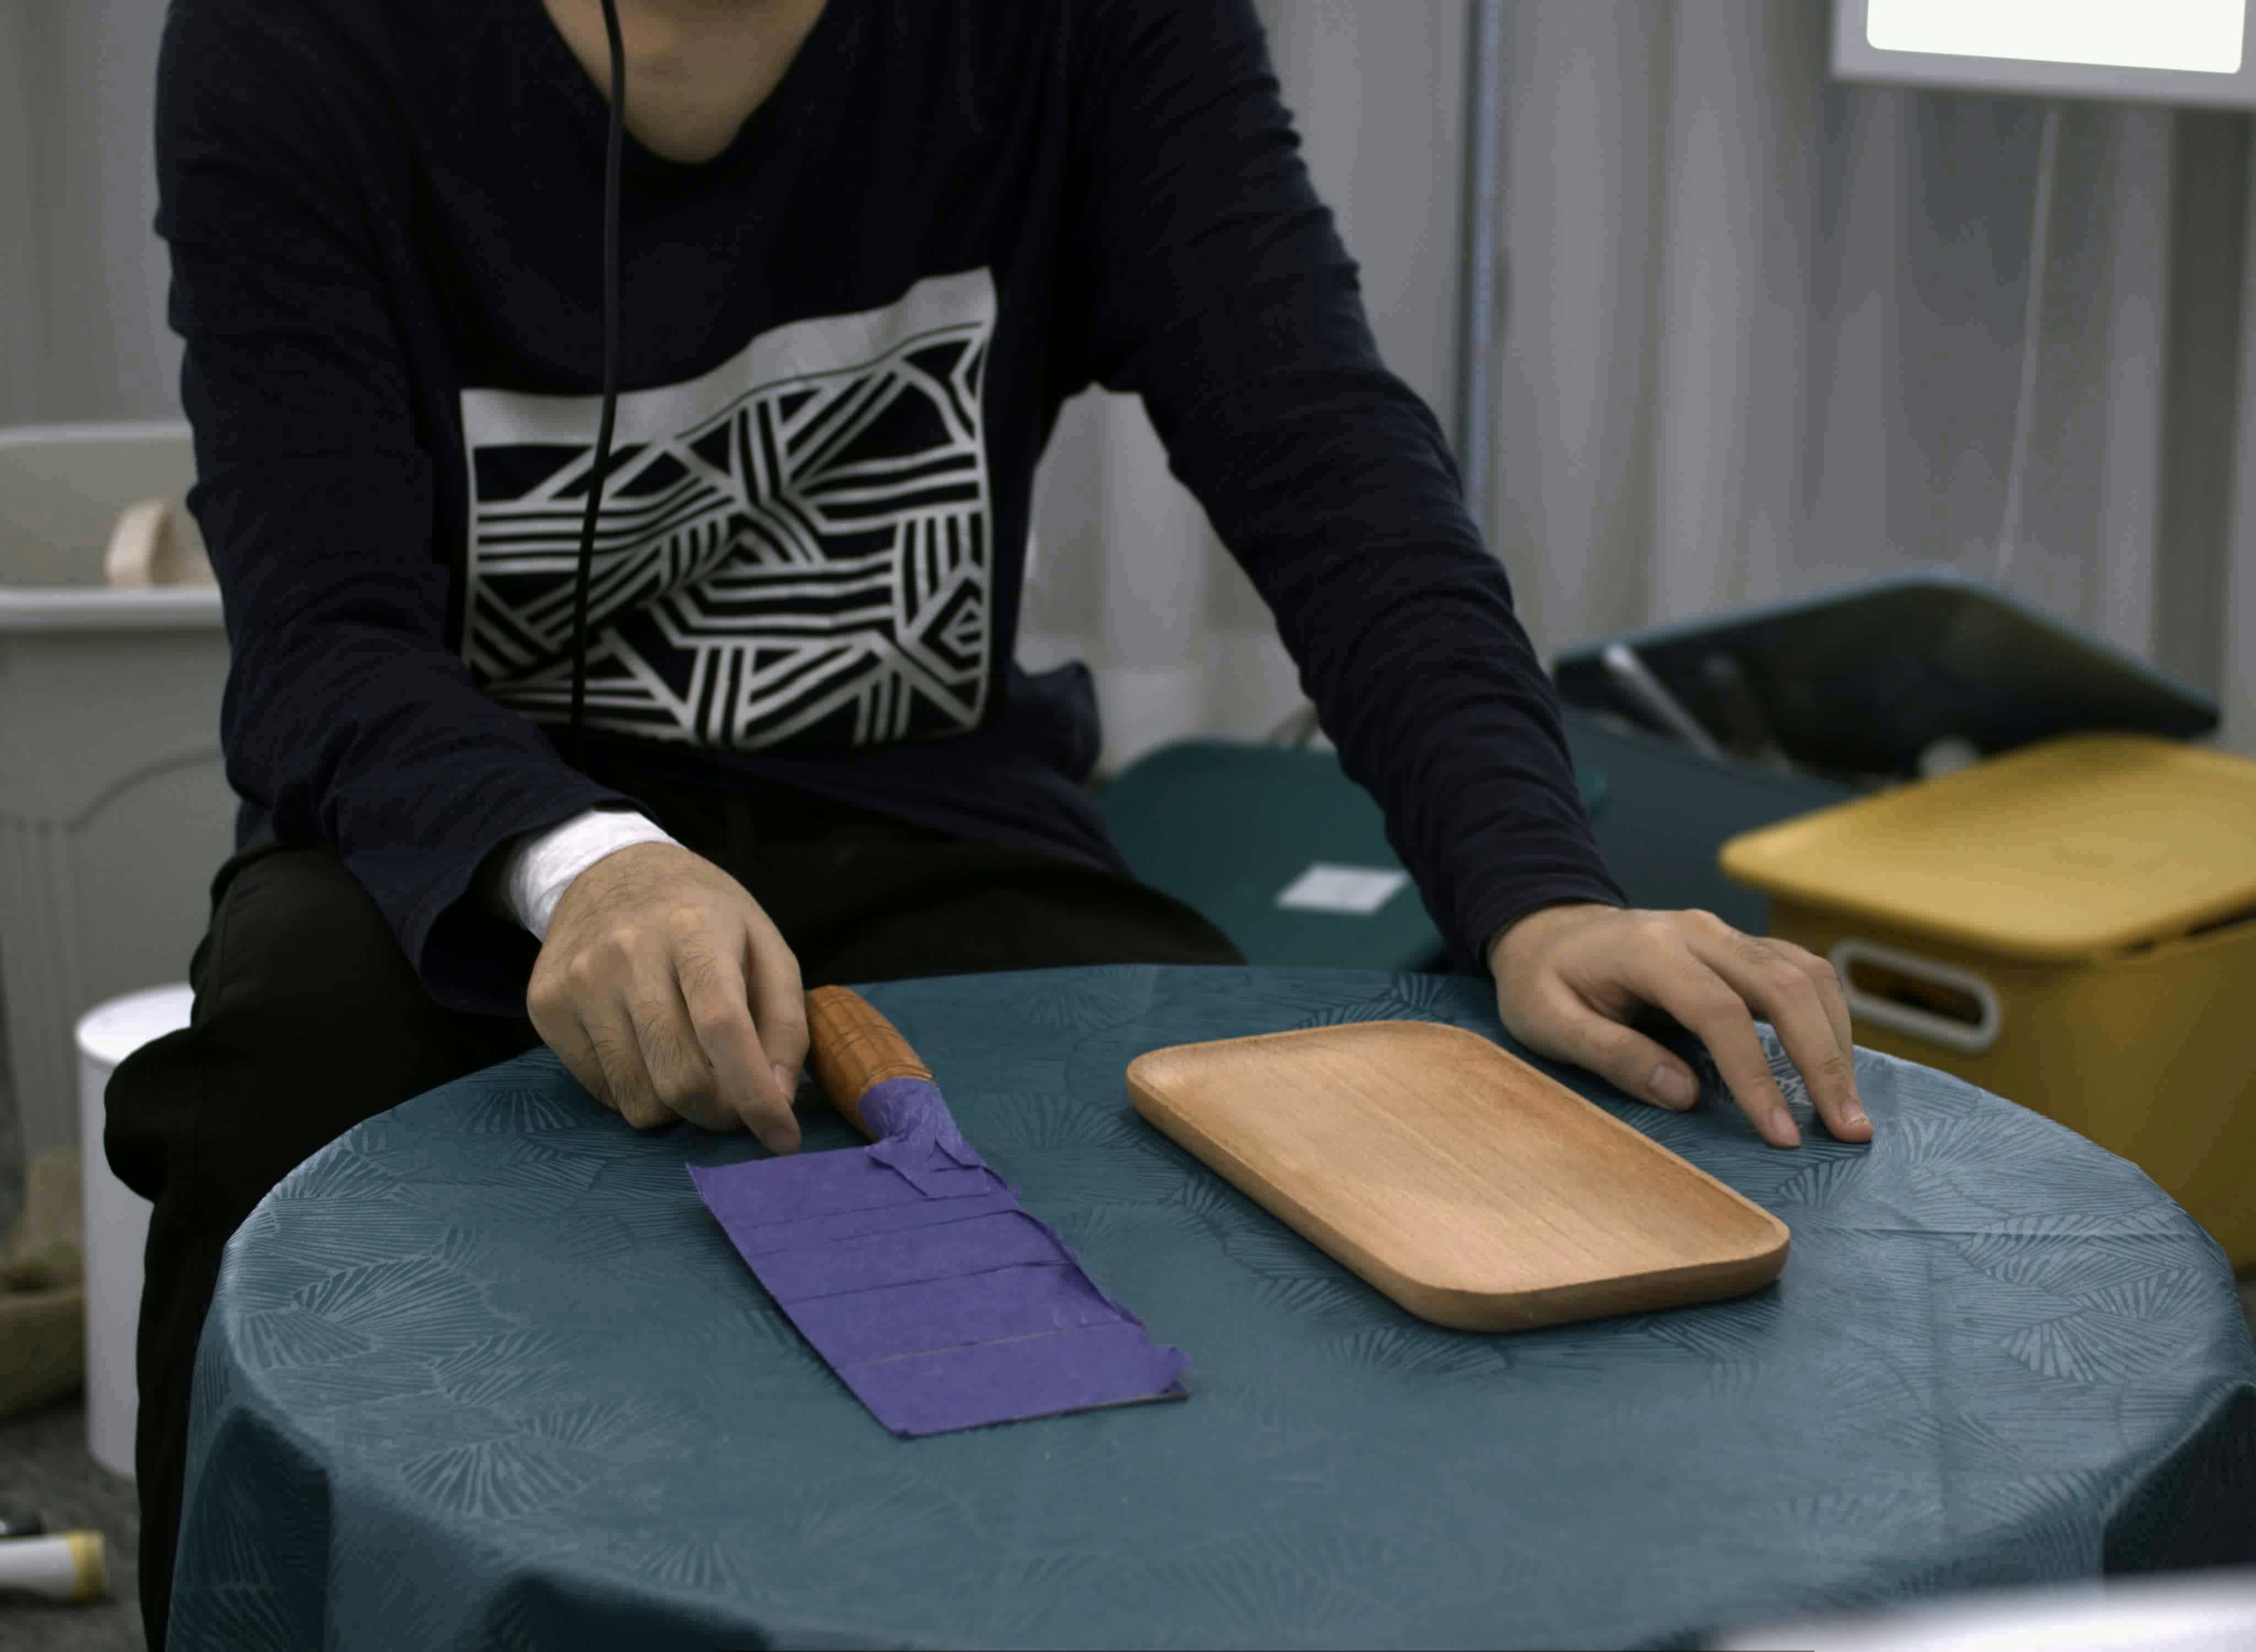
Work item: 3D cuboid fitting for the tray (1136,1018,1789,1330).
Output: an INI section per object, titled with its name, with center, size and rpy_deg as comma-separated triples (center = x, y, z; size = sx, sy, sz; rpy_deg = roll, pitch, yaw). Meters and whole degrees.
[tray]
center = 0.098, 0.105, 1.627
size = 0.131, 0.023, 0.248
rpy_deg = -3, 15, -21

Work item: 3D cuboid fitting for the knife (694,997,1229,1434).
[knife]
center = -0.074, 0.112, 1.574
size = 0.104, 0.032, 0.311
rpy_deg = -5, 17, -21
